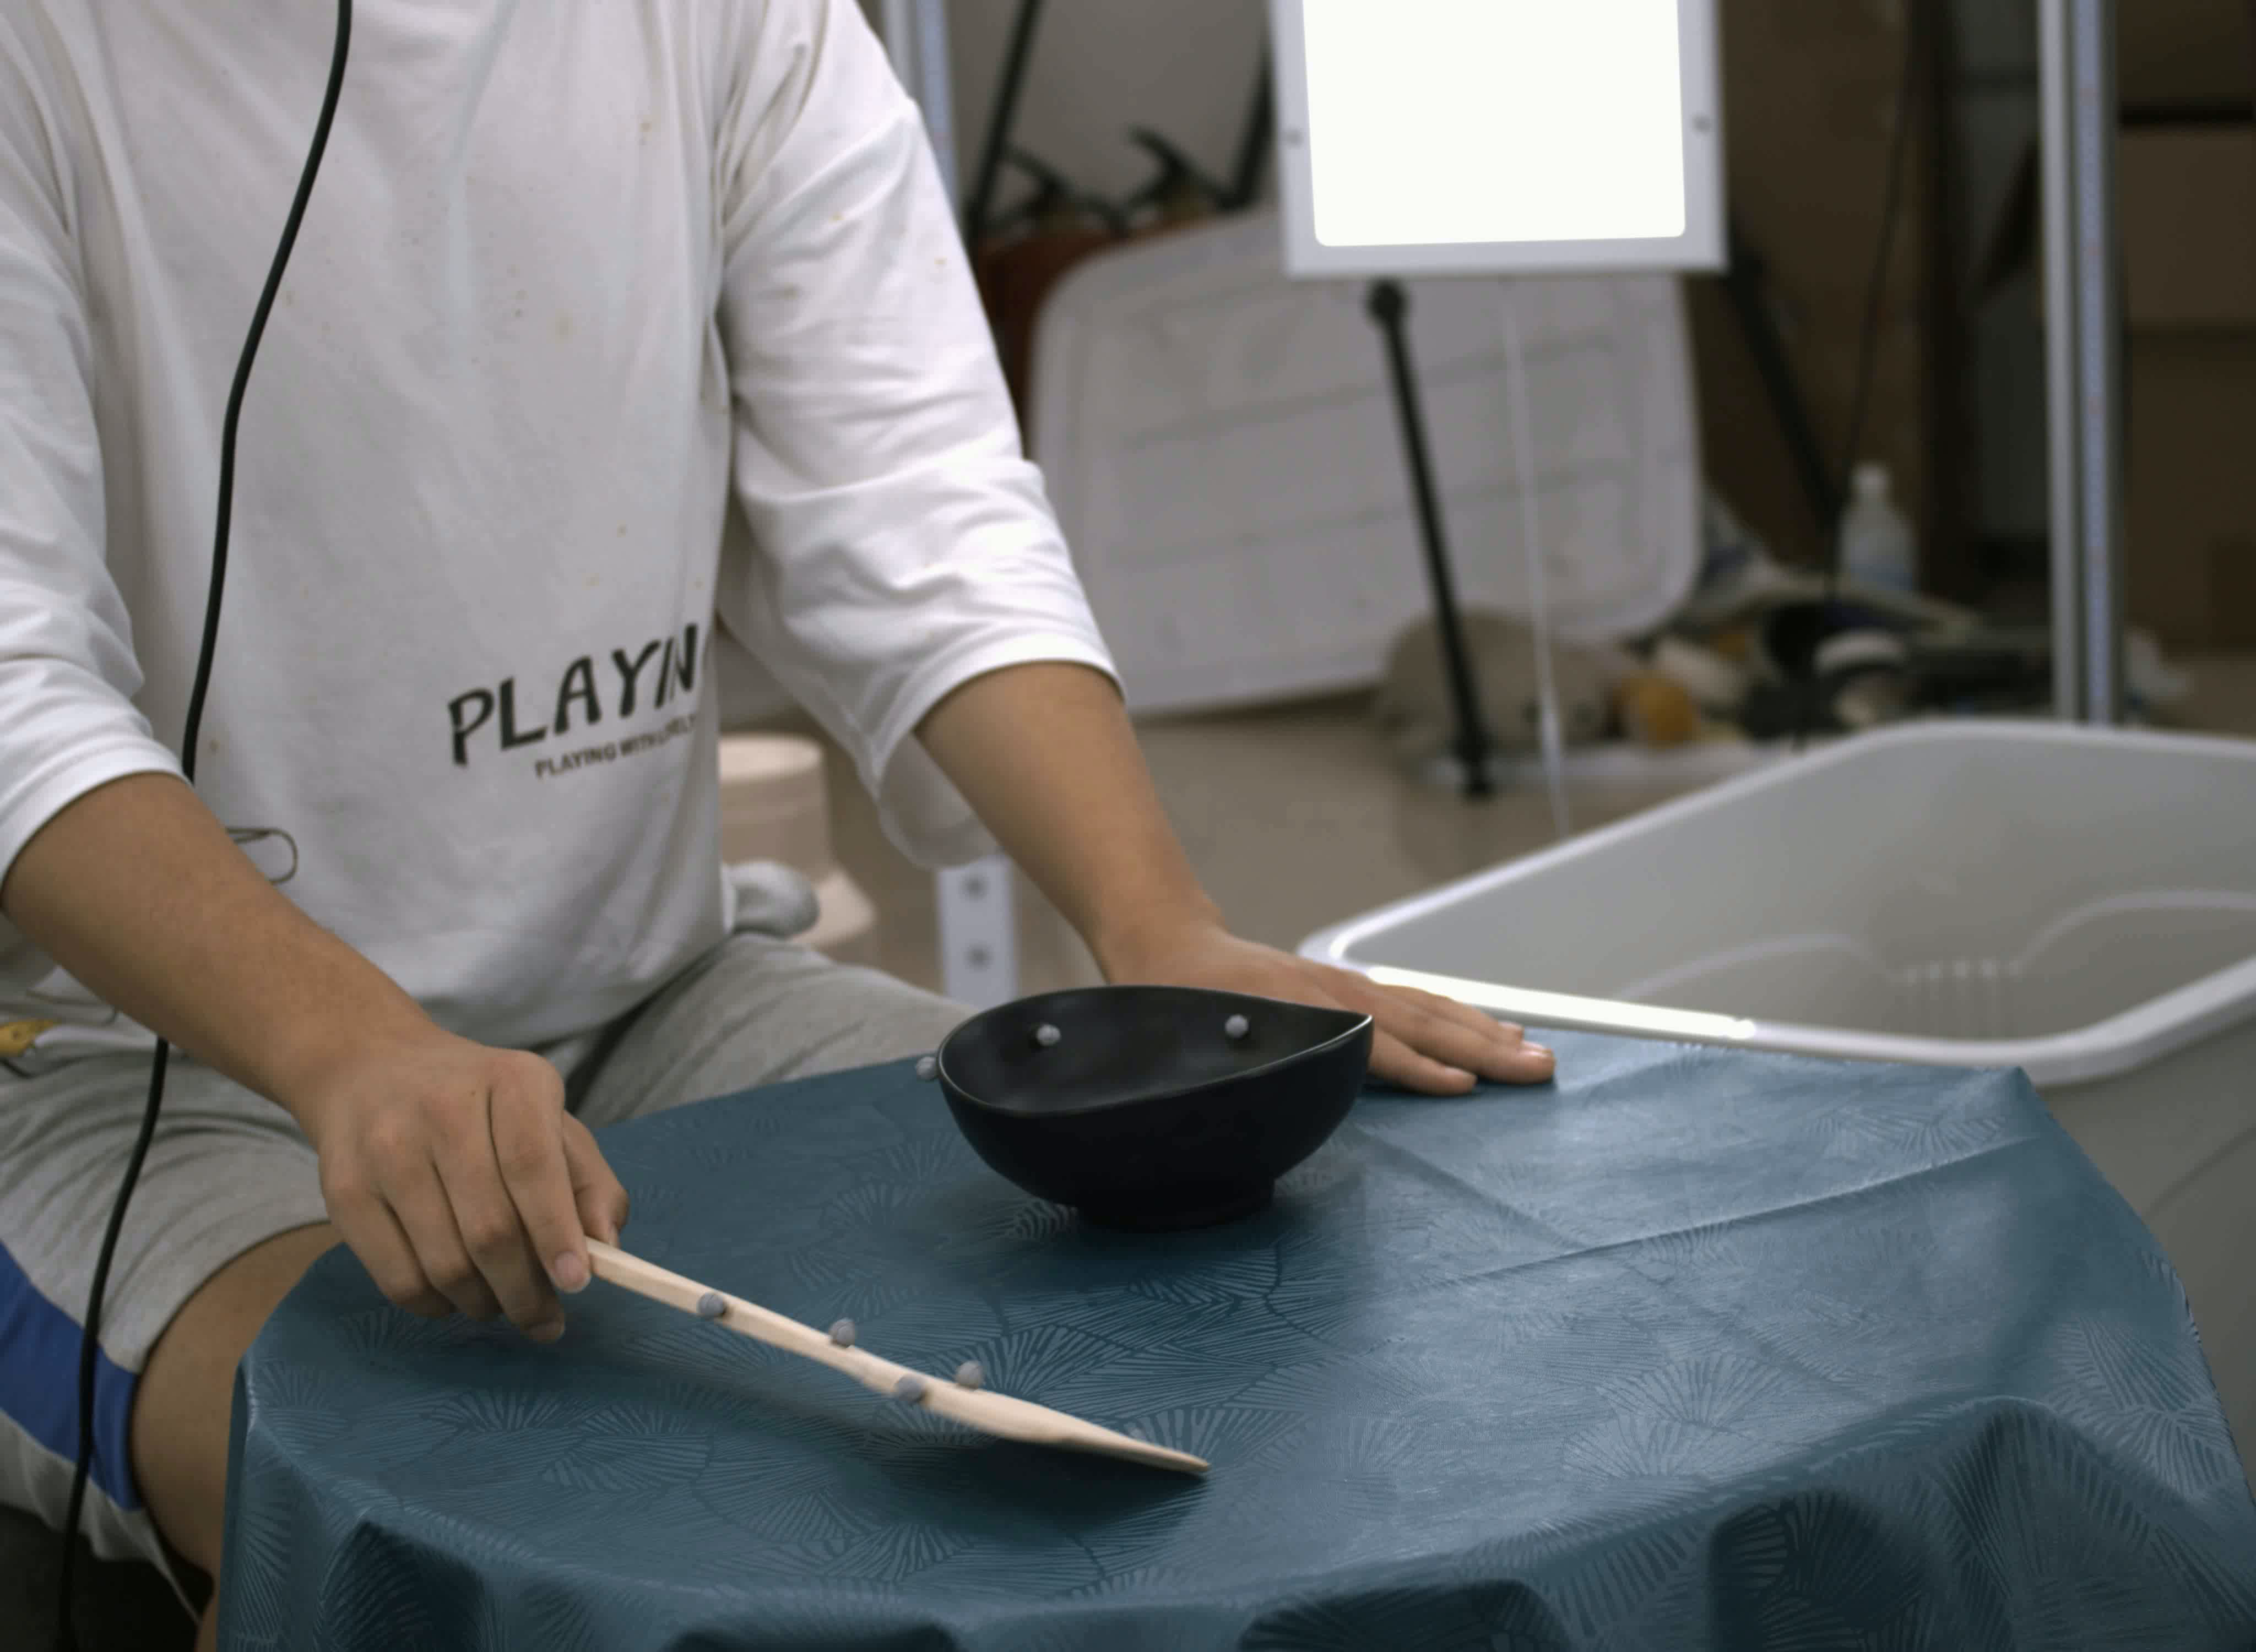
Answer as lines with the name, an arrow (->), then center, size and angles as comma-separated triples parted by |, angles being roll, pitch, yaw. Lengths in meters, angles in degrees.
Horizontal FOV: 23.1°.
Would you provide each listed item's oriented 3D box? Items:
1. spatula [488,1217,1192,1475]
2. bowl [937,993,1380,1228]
spatula -> -0.103, 0.158, 1.701 | 0.070, 0.011, 0.299 | 13, 2, -44
bowl -> 0.013, 0.098, 1.878 | 0.140, 0.067, 0.166 | 6, 15, 40
